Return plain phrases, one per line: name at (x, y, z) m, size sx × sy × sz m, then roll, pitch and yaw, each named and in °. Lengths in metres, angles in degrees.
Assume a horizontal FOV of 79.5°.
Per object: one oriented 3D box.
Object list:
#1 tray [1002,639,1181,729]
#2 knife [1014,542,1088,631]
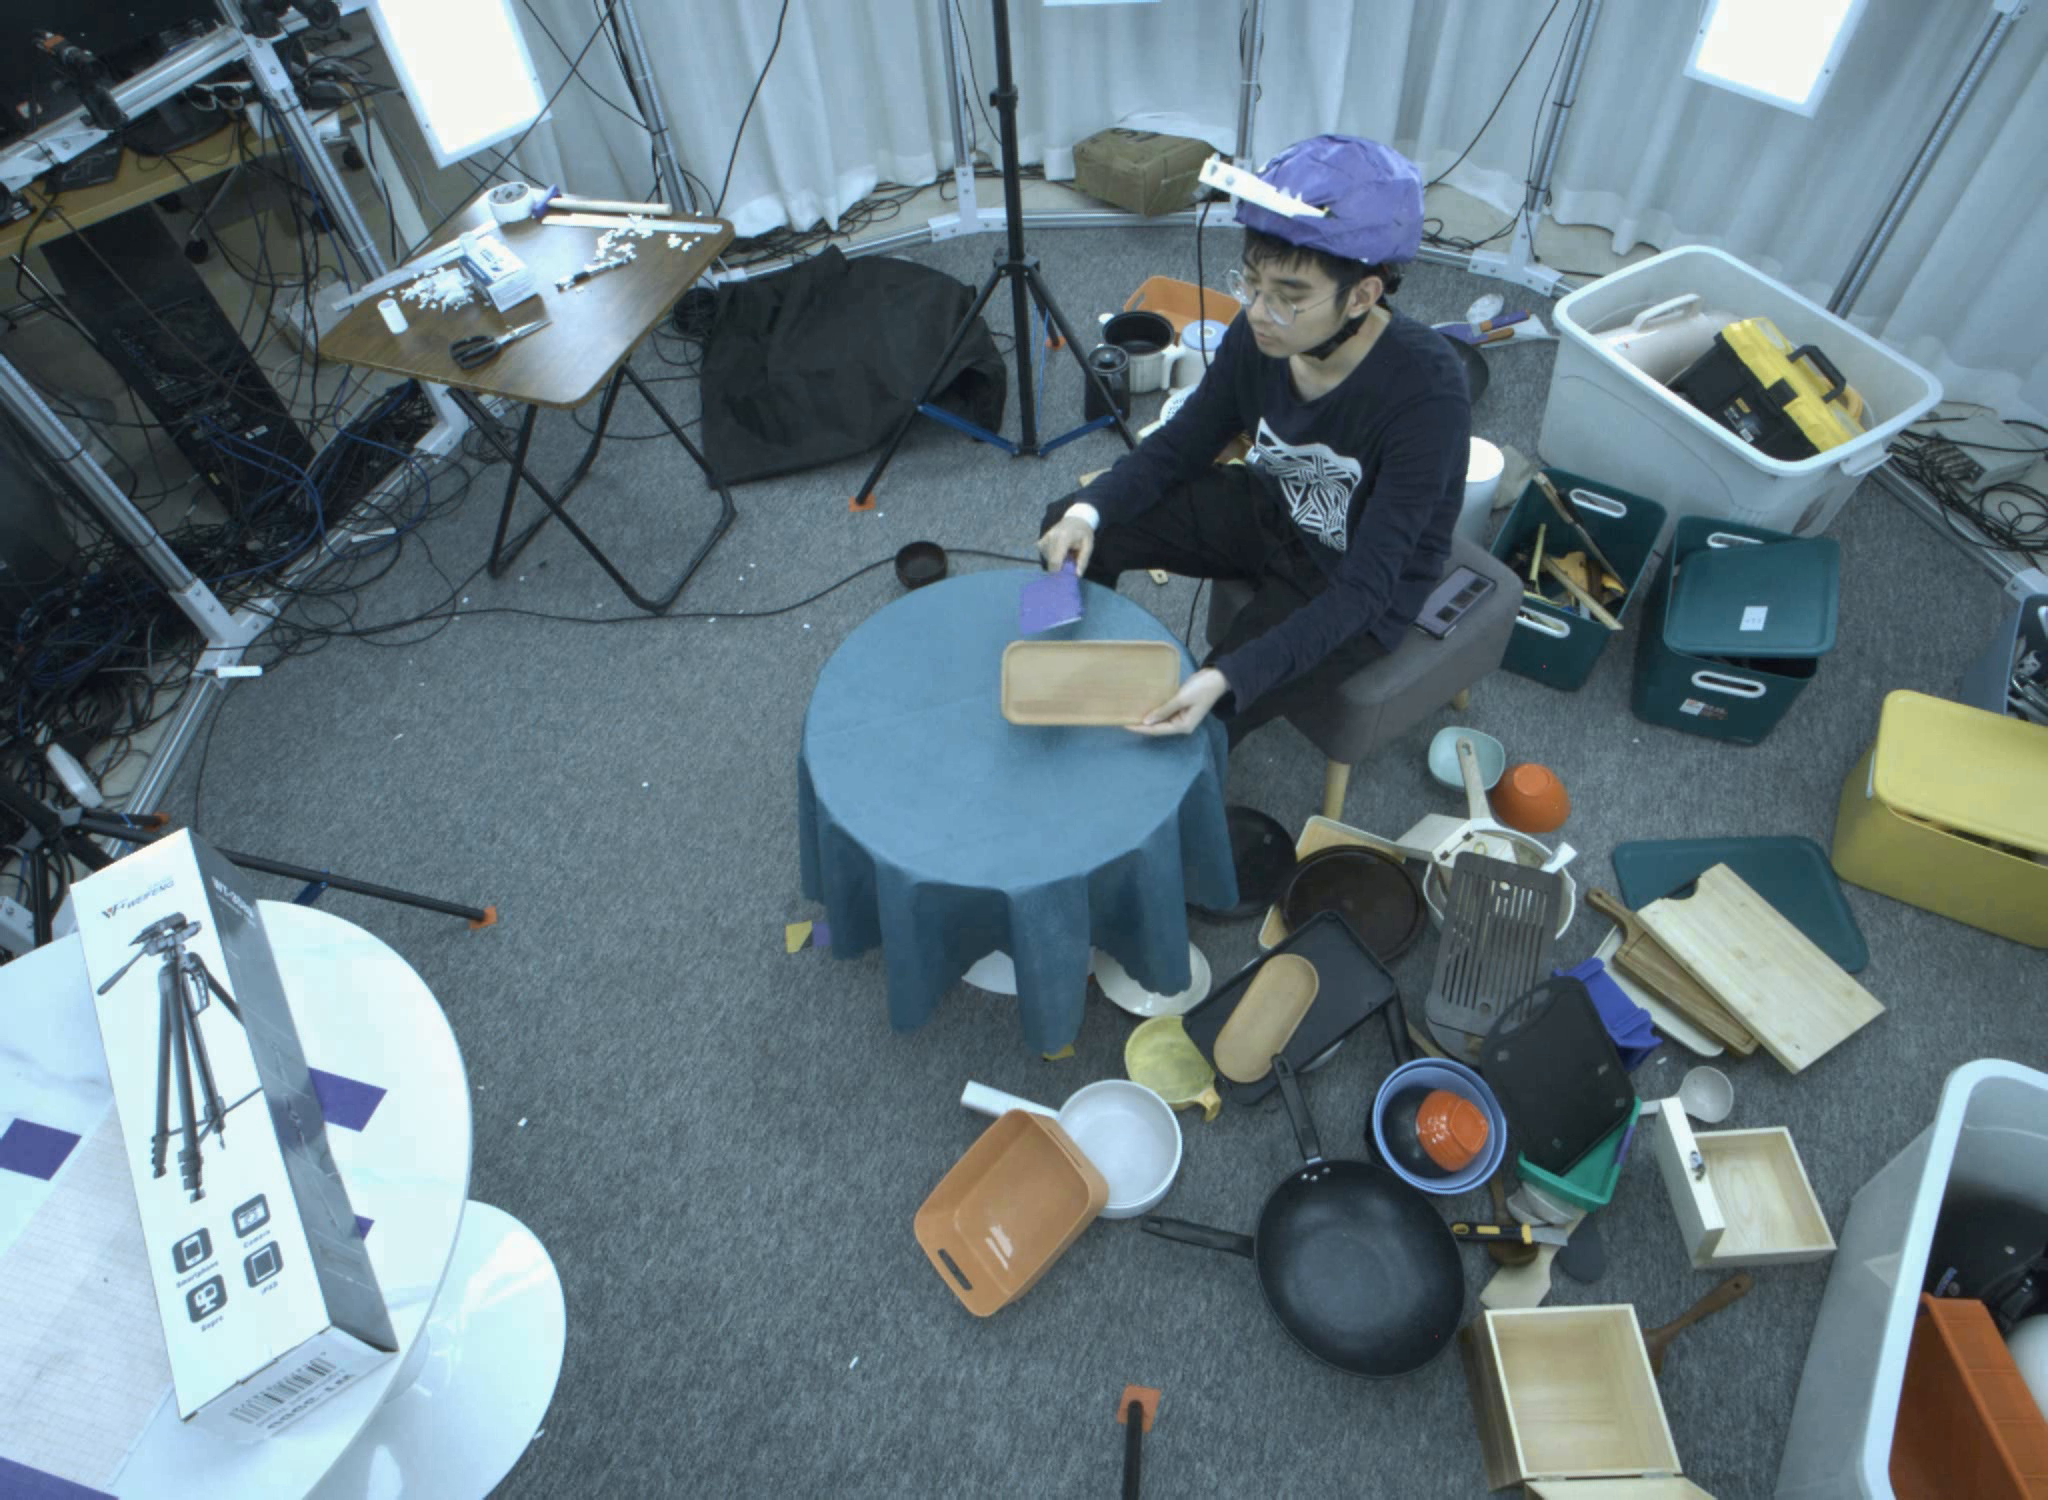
tray at (0.095, -0.094, 1.748) m, size 0.252 × 0.131 × 0.022 m, roll 2°, pitch 28°, yaw -8°
knife at (0.035, -0.246, 1.824) m, size 0.103 × 0.032 × 0.312 m, roll -15°, pitch 24°, yaw 6°
